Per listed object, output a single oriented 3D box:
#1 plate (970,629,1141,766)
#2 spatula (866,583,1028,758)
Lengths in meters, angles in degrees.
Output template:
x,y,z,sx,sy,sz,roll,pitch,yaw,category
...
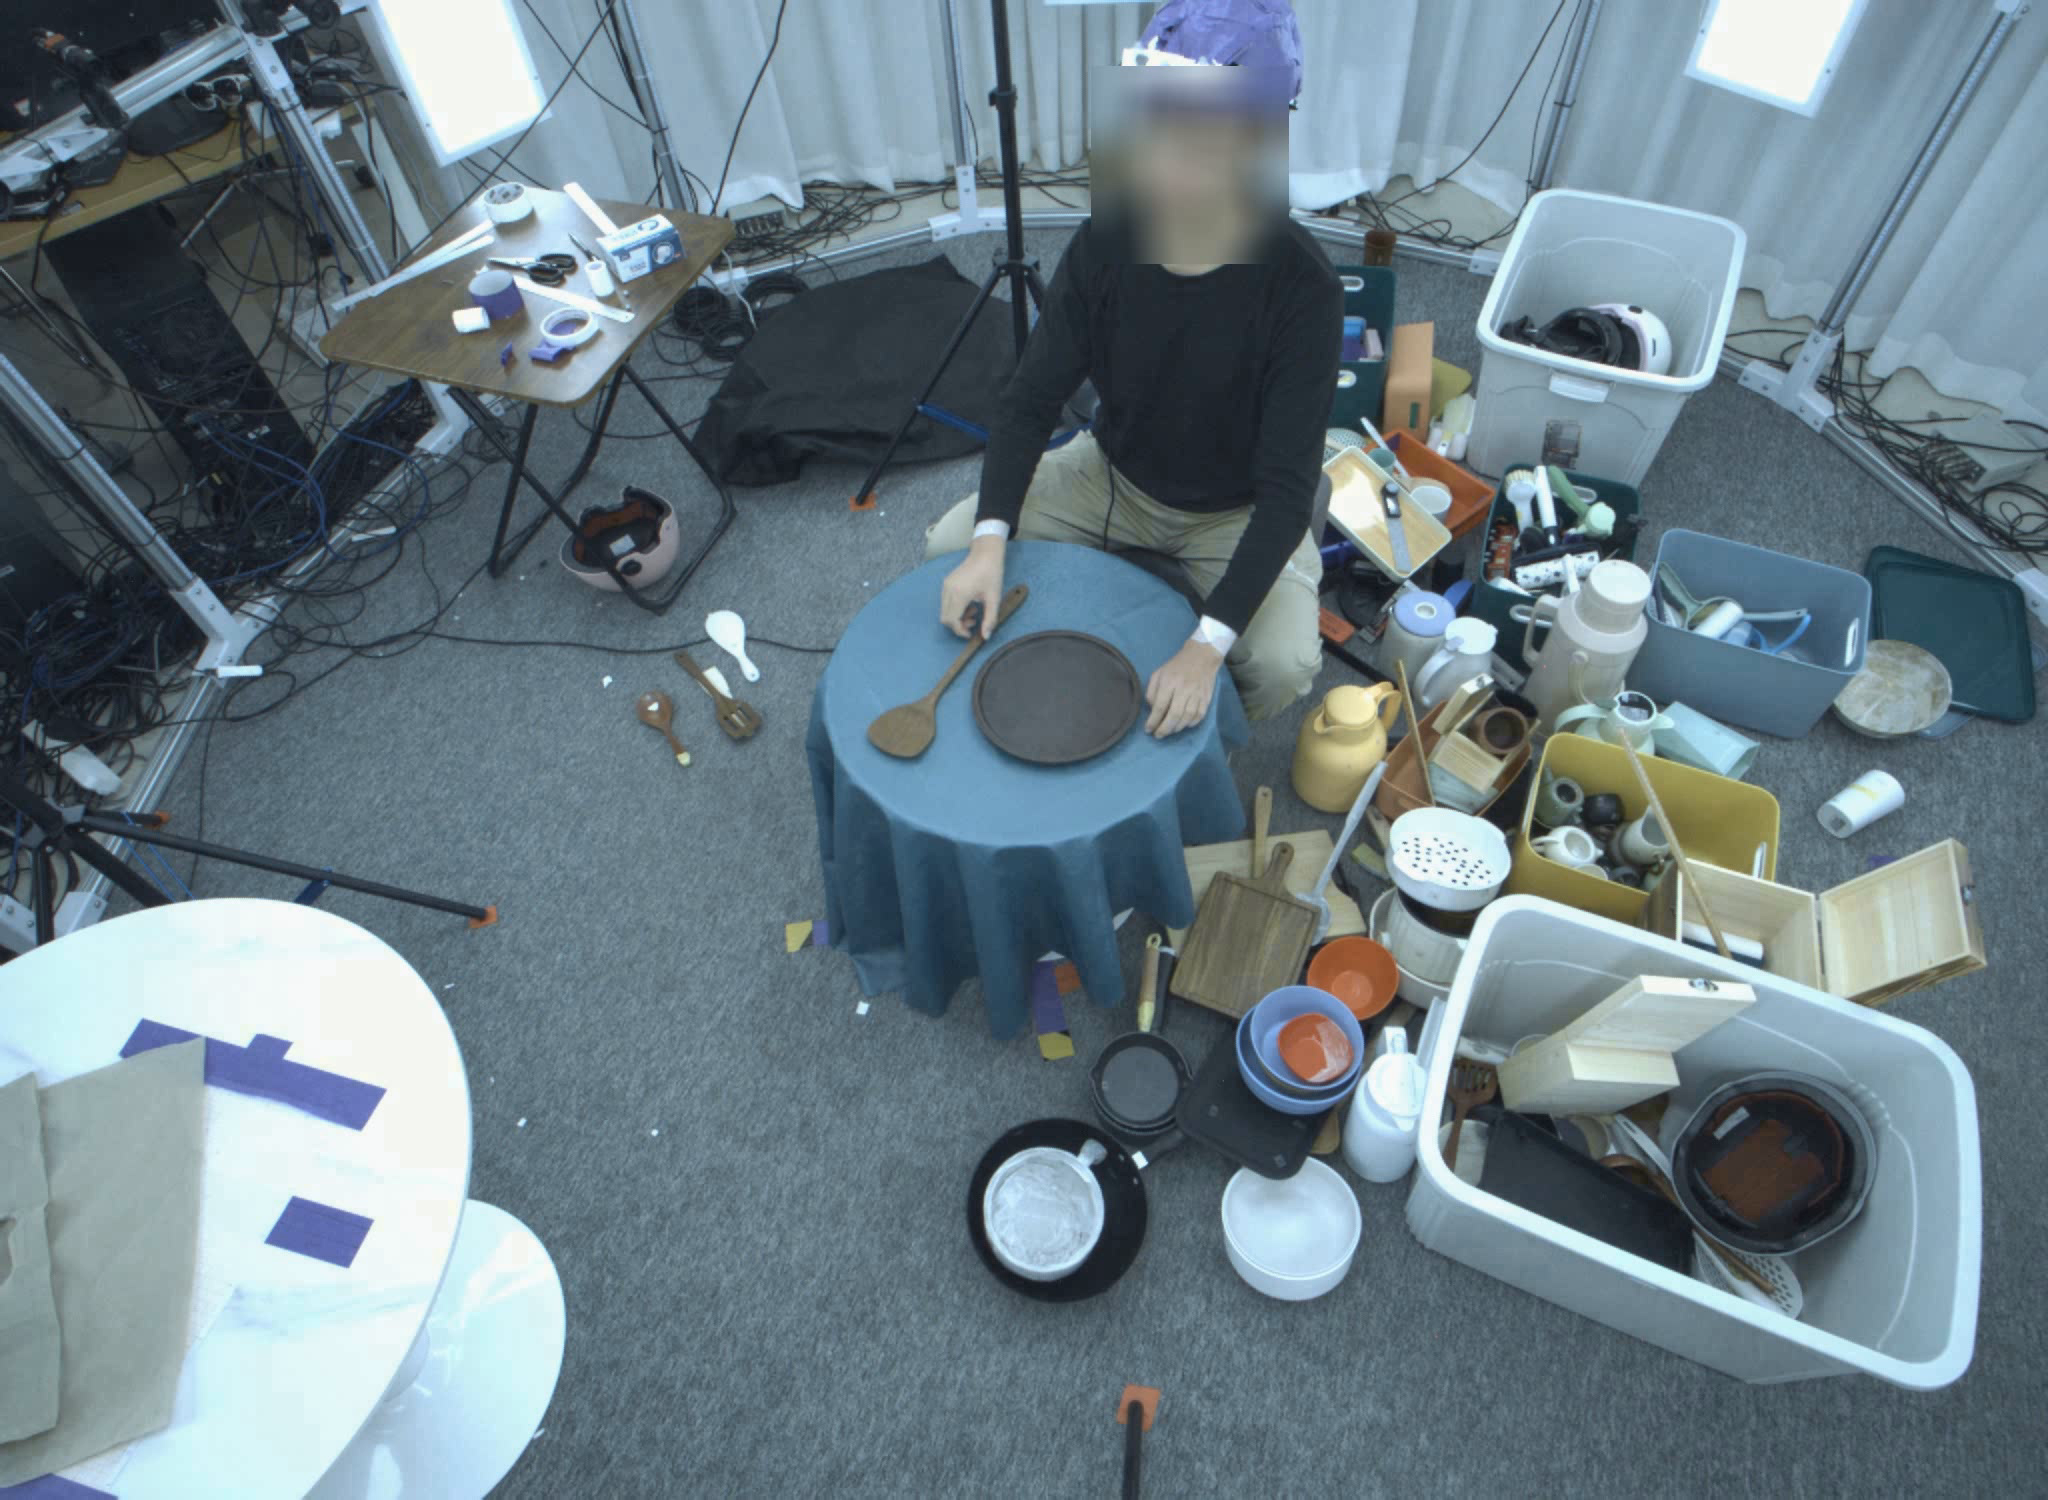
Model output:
x,y,z,sx,sy,sz,roll,pitch,yaw,category
0.047,-0.079,1.828,0.254,0.029,0.252,-1,54,3,plate
-0.101,-0.132,1.875,0.095,0.016,0.387,26,60,18,spatula
